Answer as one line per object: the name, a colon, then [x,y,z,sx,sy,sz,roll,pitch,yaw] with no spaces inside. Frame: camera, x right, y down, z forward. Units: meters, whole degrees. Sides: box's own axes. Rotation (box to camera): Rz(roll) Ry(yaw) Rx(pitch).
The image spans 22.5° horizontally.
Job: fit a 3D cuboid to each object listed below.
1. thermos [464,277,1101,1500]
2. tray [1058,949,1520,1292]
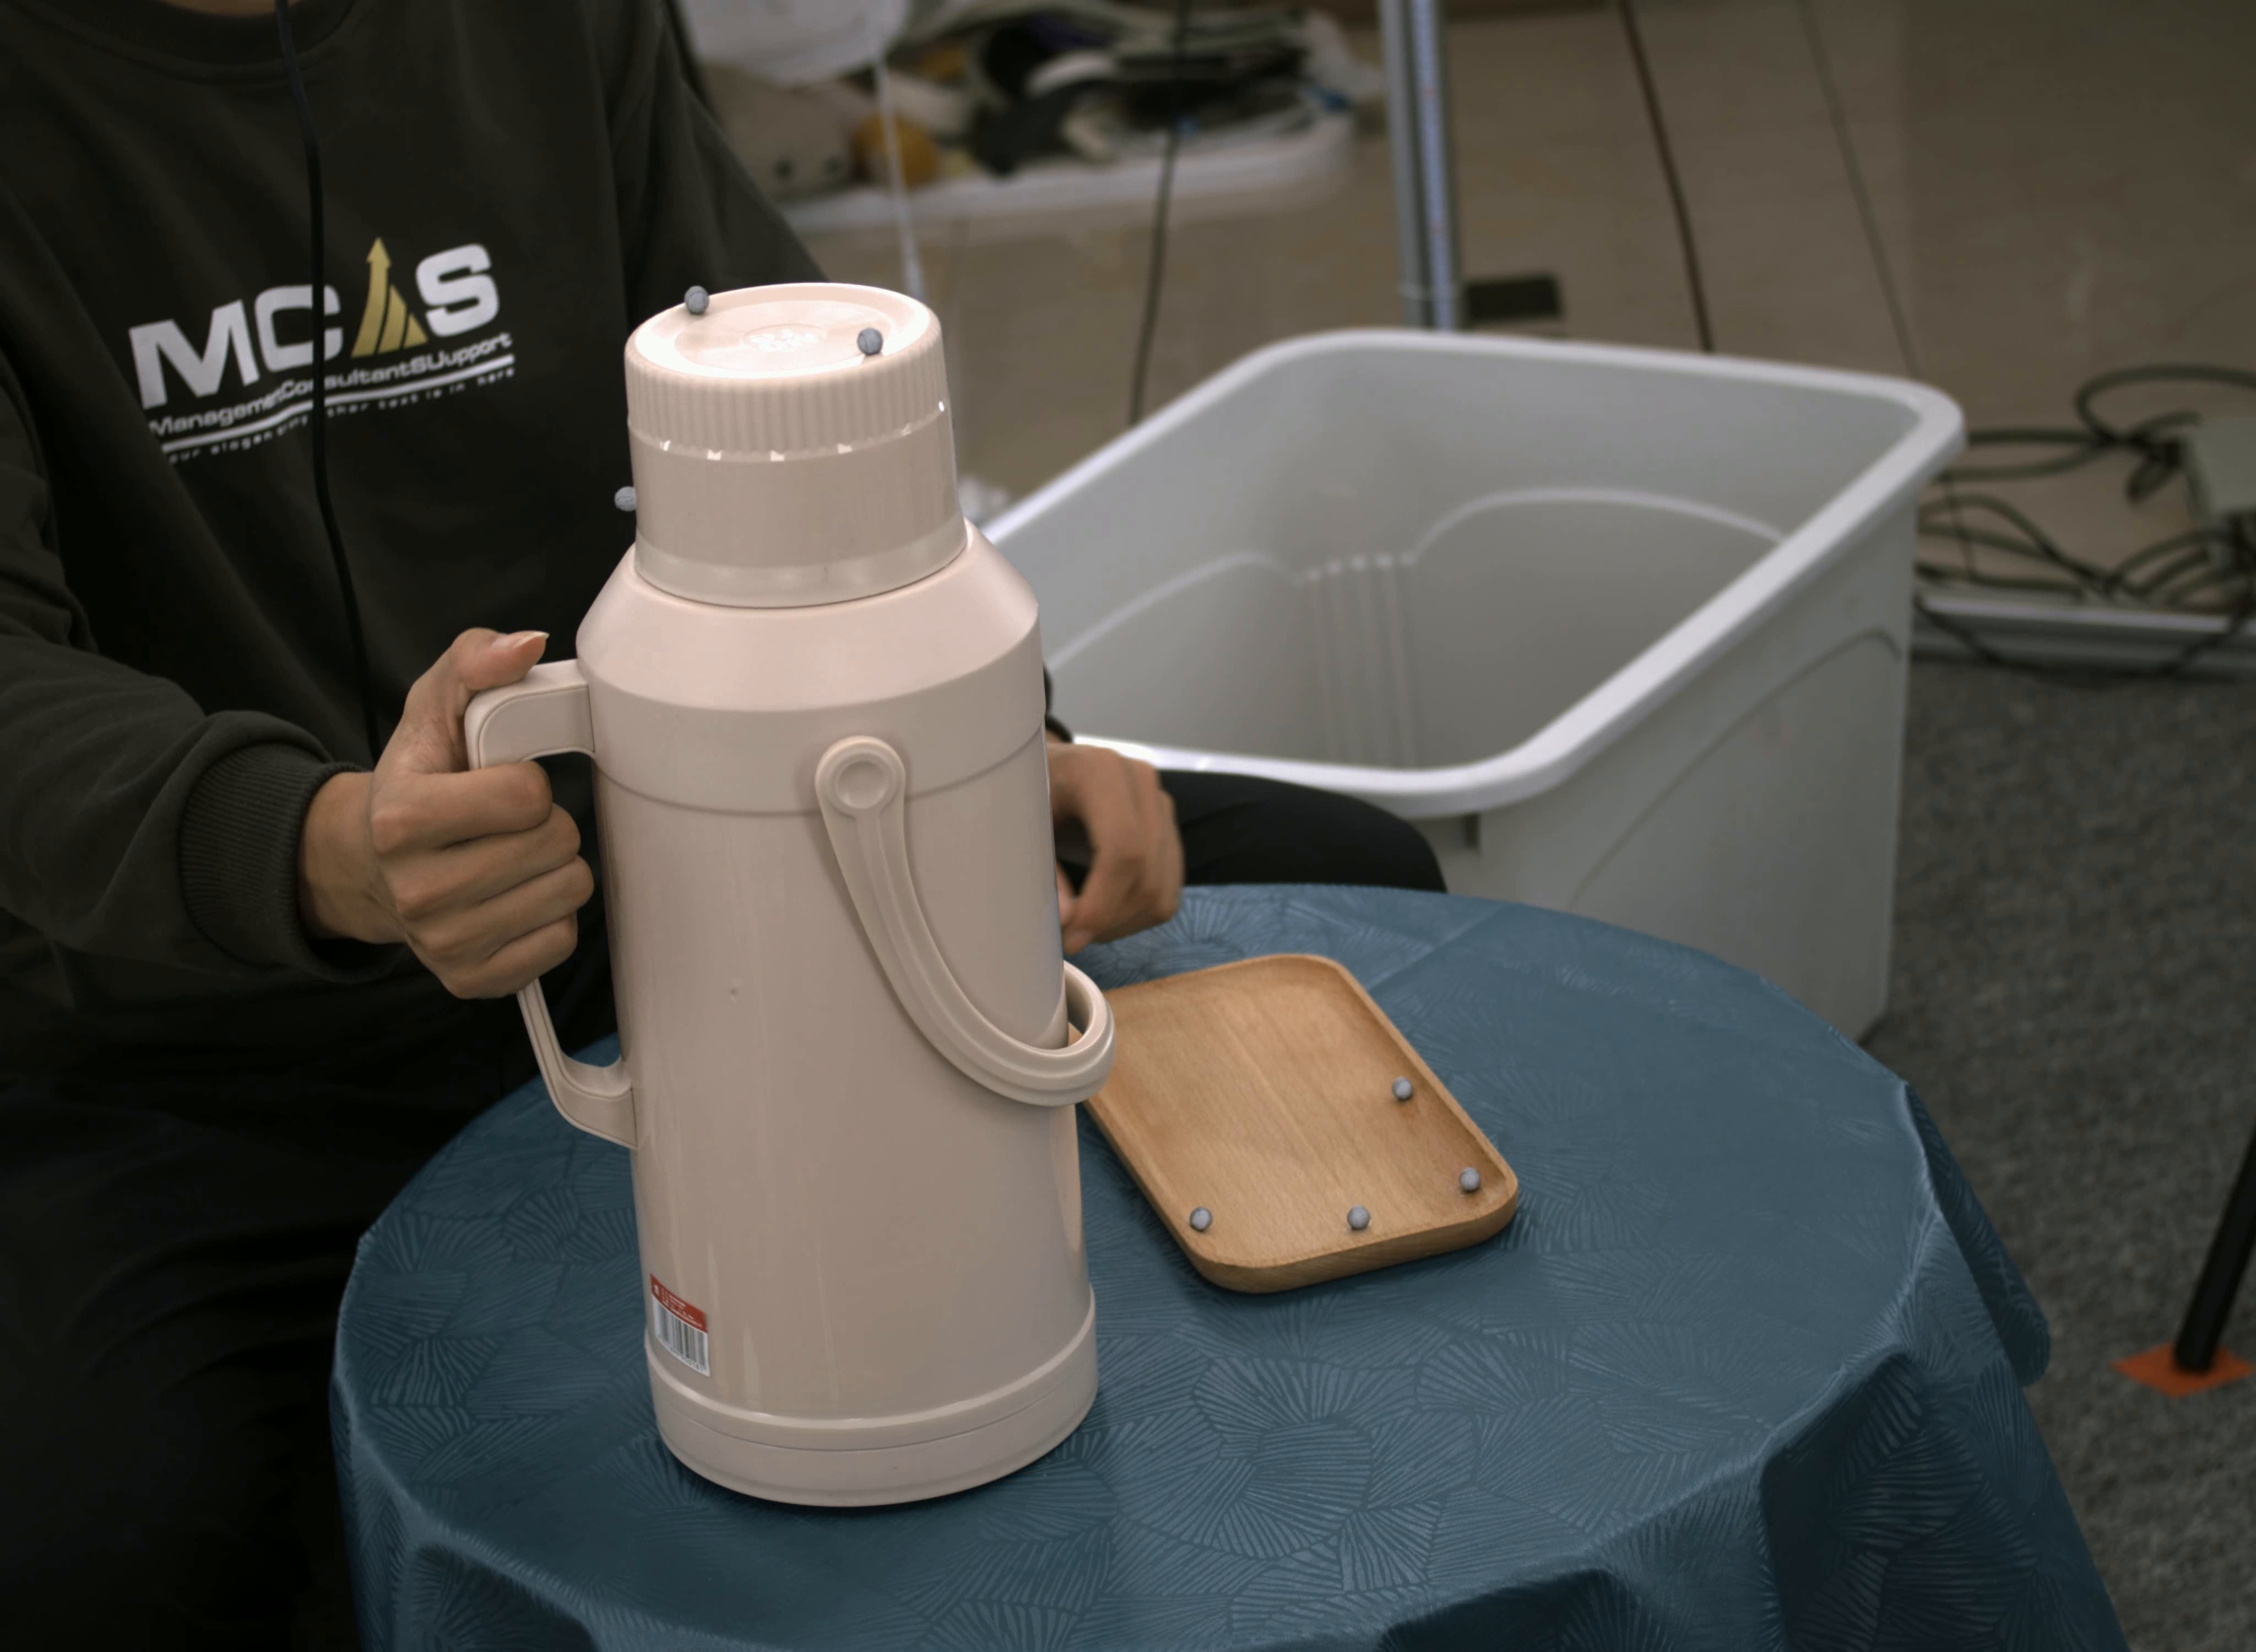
thermos: [-0.116,0.022,1.939,0.206,0.413,0.173,-9,27,-11]
tray: [0.056,0.111,2.175,0.130,0.023,0.247,-10,24,-13]
